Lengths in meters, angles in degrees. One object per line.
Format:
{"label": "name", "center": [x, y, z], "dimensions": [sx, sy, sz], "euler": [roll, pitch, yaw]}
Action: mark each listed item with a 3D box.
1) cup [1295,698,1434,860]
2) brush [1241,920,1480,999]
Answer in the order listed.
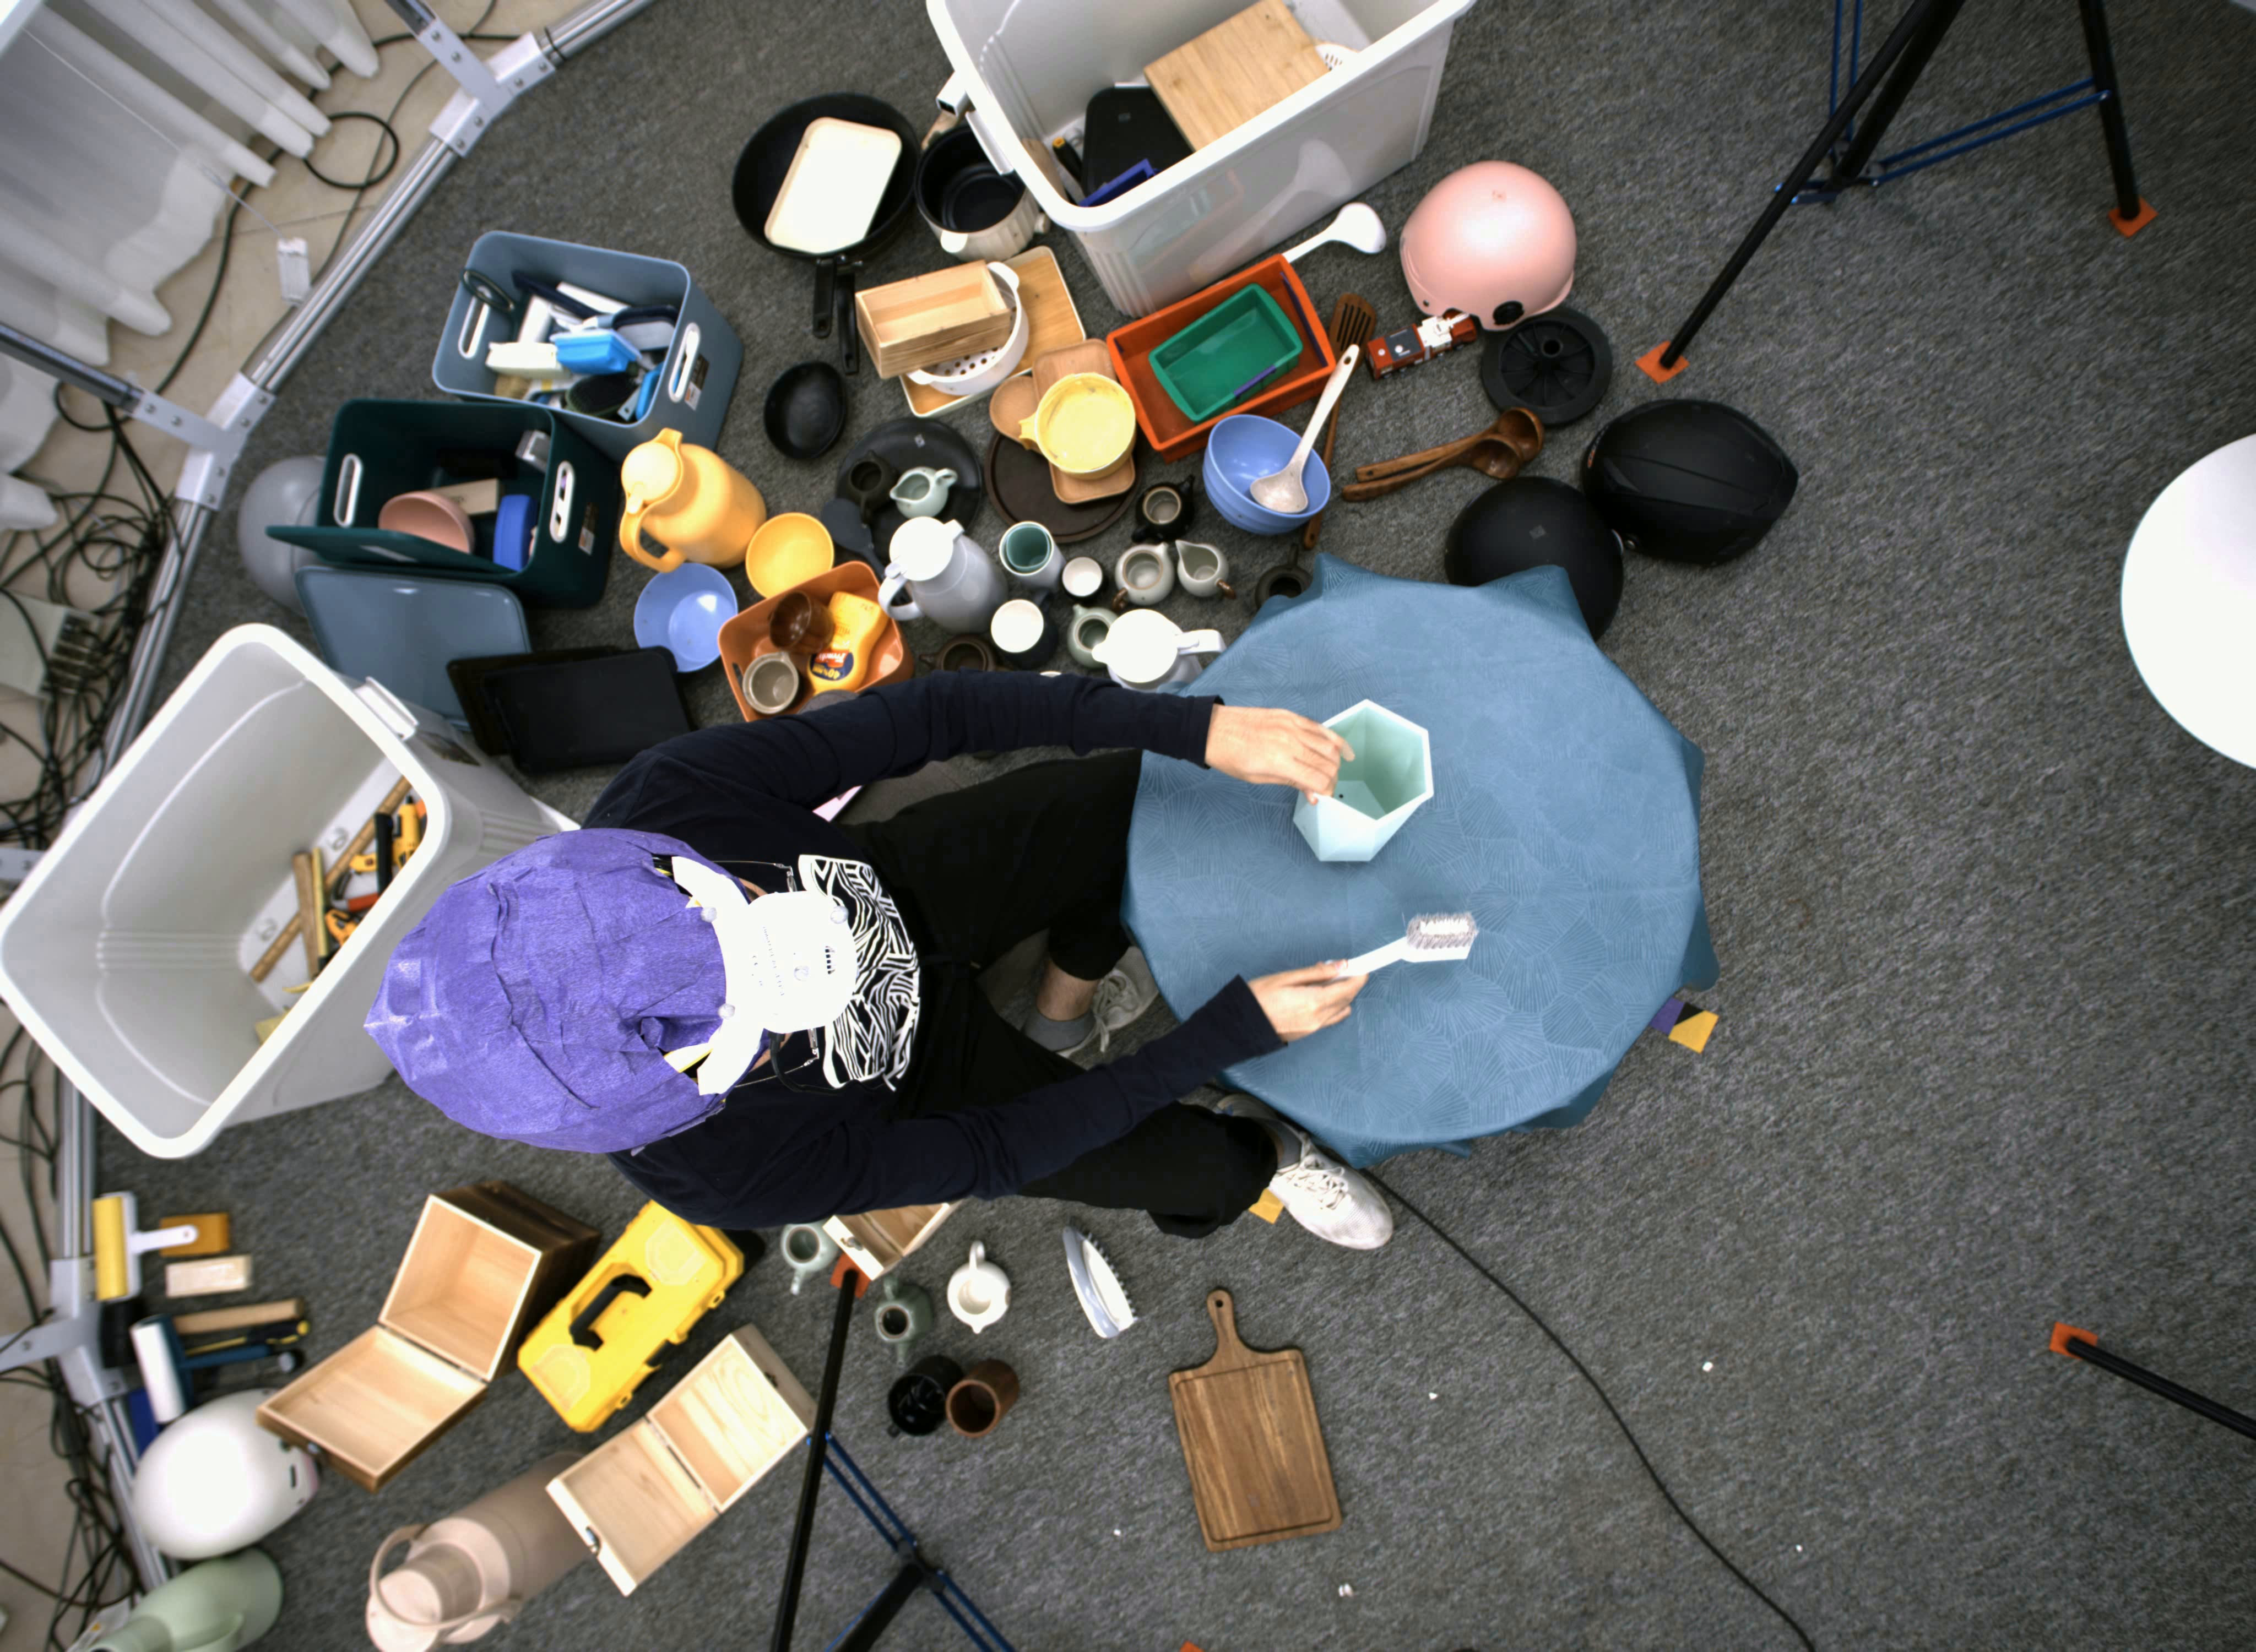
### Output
{"label": "cup", "center": [0.228, -0.037, 1.378], "dimensions": [0.131, 0.165, 0.113], "euler": [26, 73, 7]}
{"label": "brush", "center": [0.228, 0.131, 1.381], "dimensions": [0.245, 0.051, 0.033], "euler": [-11, 46, 11]}
